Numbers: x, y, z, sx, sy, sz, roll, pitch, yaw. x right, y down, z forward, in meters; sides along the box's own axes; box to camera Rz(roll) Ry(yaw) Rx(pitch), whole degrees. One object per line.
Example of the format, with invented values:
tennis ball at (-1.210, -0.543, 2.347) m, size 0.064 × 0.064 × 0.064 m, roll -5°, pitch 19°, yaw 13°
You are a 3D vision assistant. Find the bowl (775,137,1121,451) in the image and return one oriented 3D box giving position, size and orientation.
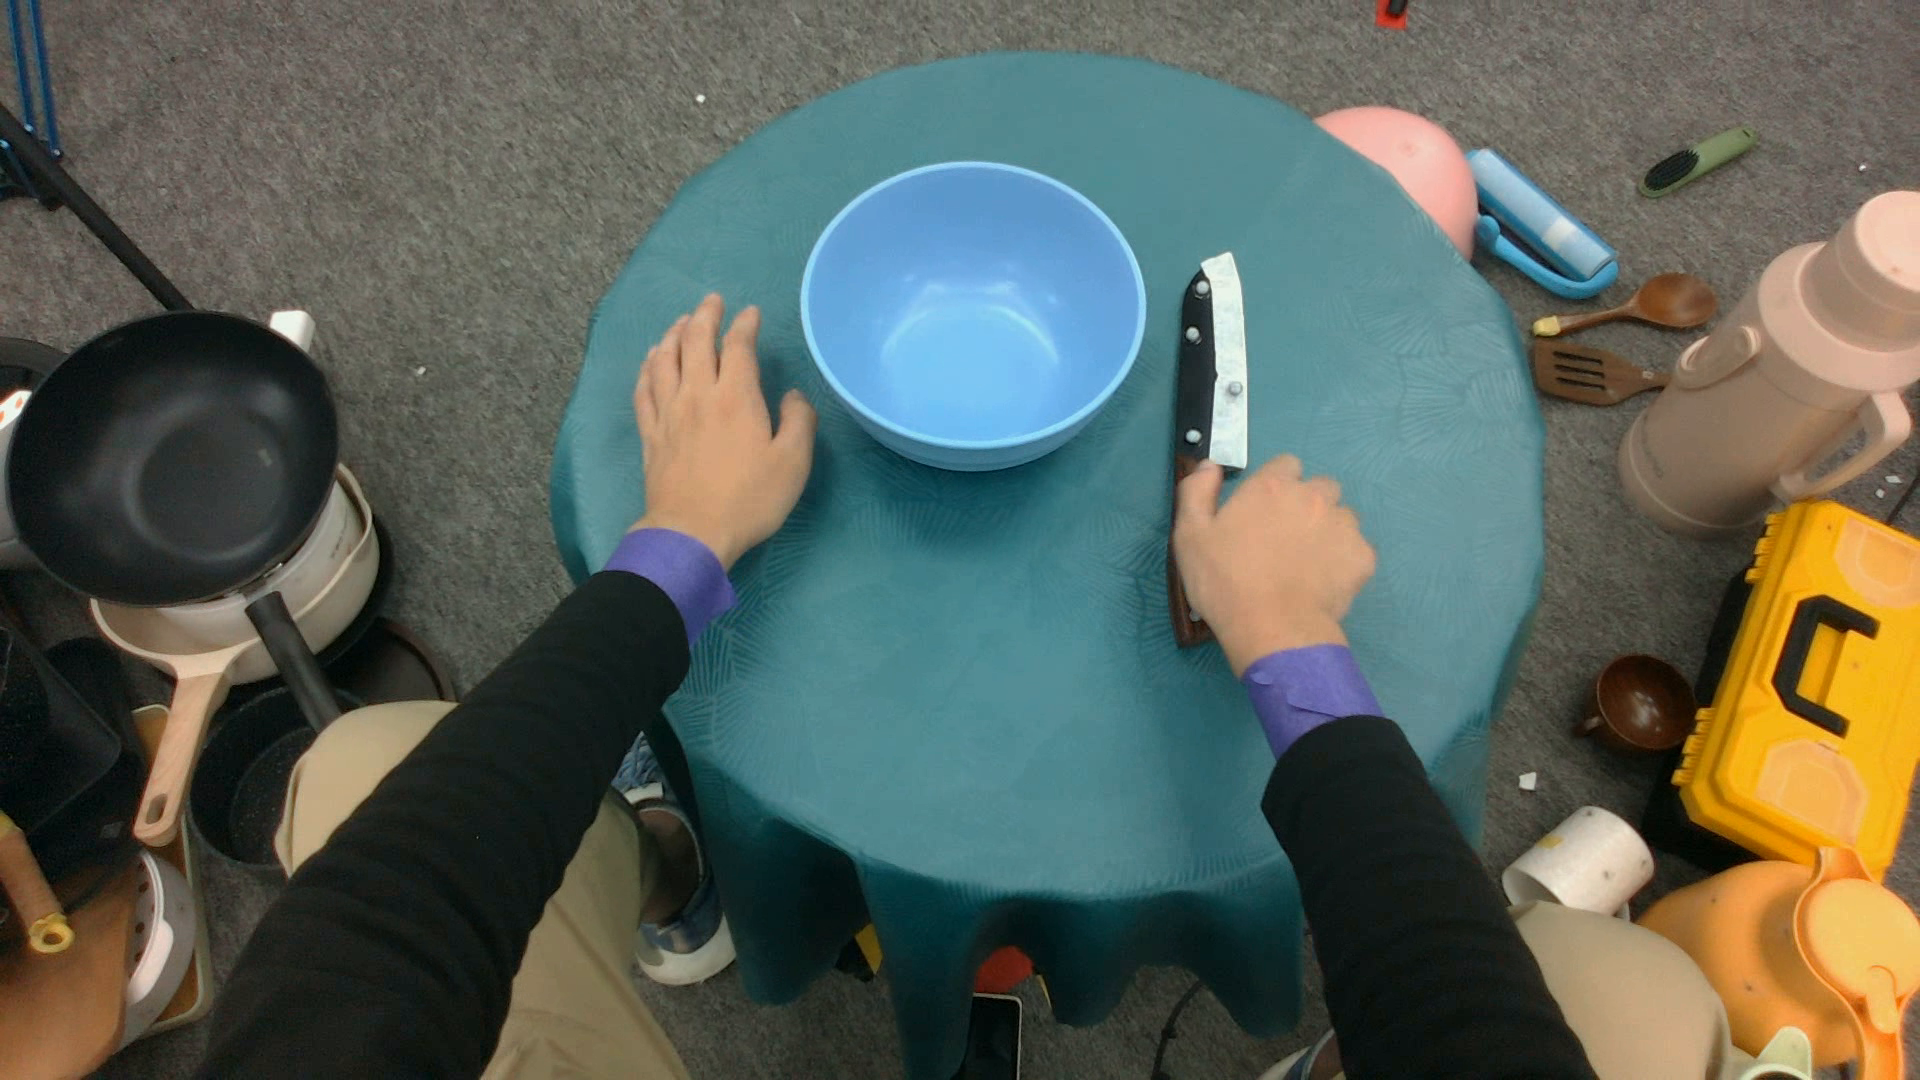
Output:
bowl at (-0.008, -0.131, 0.821) m, size 0.196 × 0.095 × 0.197 m, roll 1°, pitch 67°, yaw -2°

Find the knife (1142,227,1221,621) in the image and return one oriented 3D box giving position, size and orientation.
knife at (0.136, -0.081, 0.844) m, size 0.050 × 0.020 × 0.290 m, roll 9°, pitch 62°, yaw -1°
